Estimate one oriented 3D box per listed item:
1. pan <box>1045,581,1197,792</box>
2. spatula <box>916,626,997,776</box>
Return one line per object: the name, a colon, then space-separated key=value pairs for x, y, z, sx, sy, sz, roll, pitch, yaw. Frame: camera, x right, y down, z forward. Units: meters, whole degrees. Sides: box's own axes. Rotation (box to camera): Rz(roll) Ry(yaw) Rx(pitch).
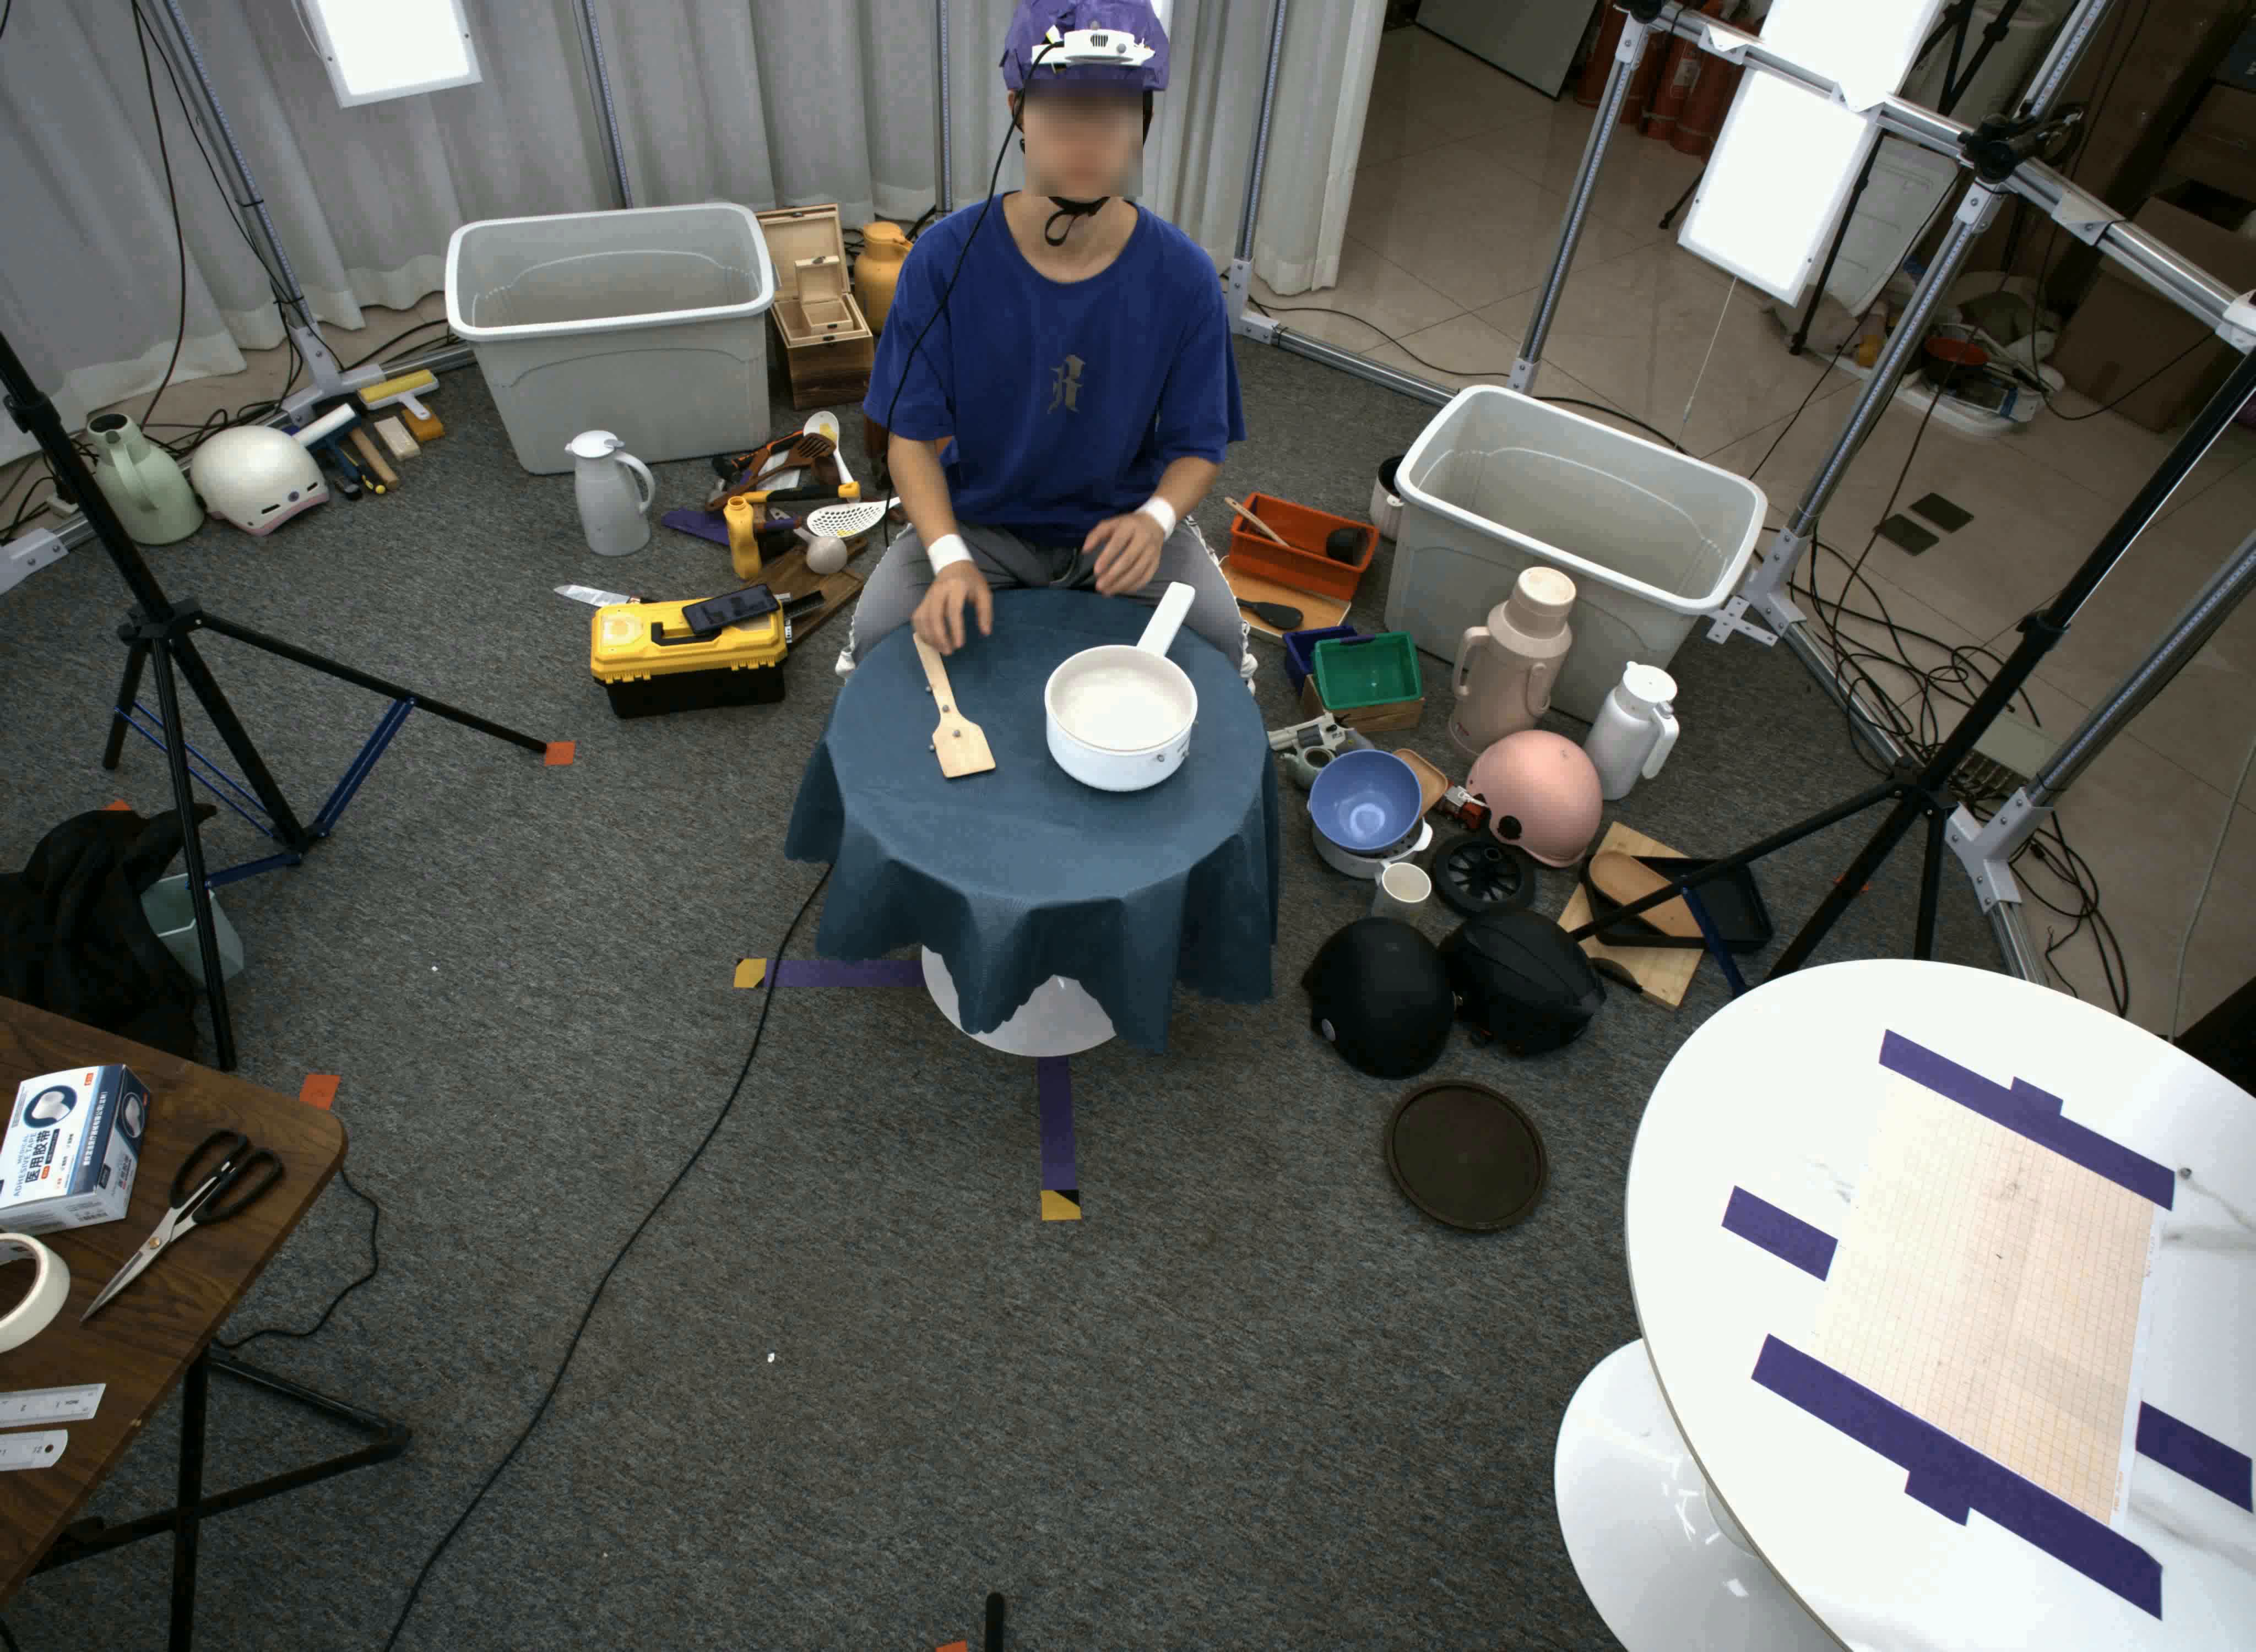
pan: x=0.016 y=-0.195 z=1.779 sx=0.202 sy=0.099 sz=0.362 roll=16 pitch=51 yaw=12
spatula: x=-0.254 y=-0.181 z=1.807 sx=0.072 sy=0.010 sz=0.300 roll=-13 pitch=52 yaw=-13
